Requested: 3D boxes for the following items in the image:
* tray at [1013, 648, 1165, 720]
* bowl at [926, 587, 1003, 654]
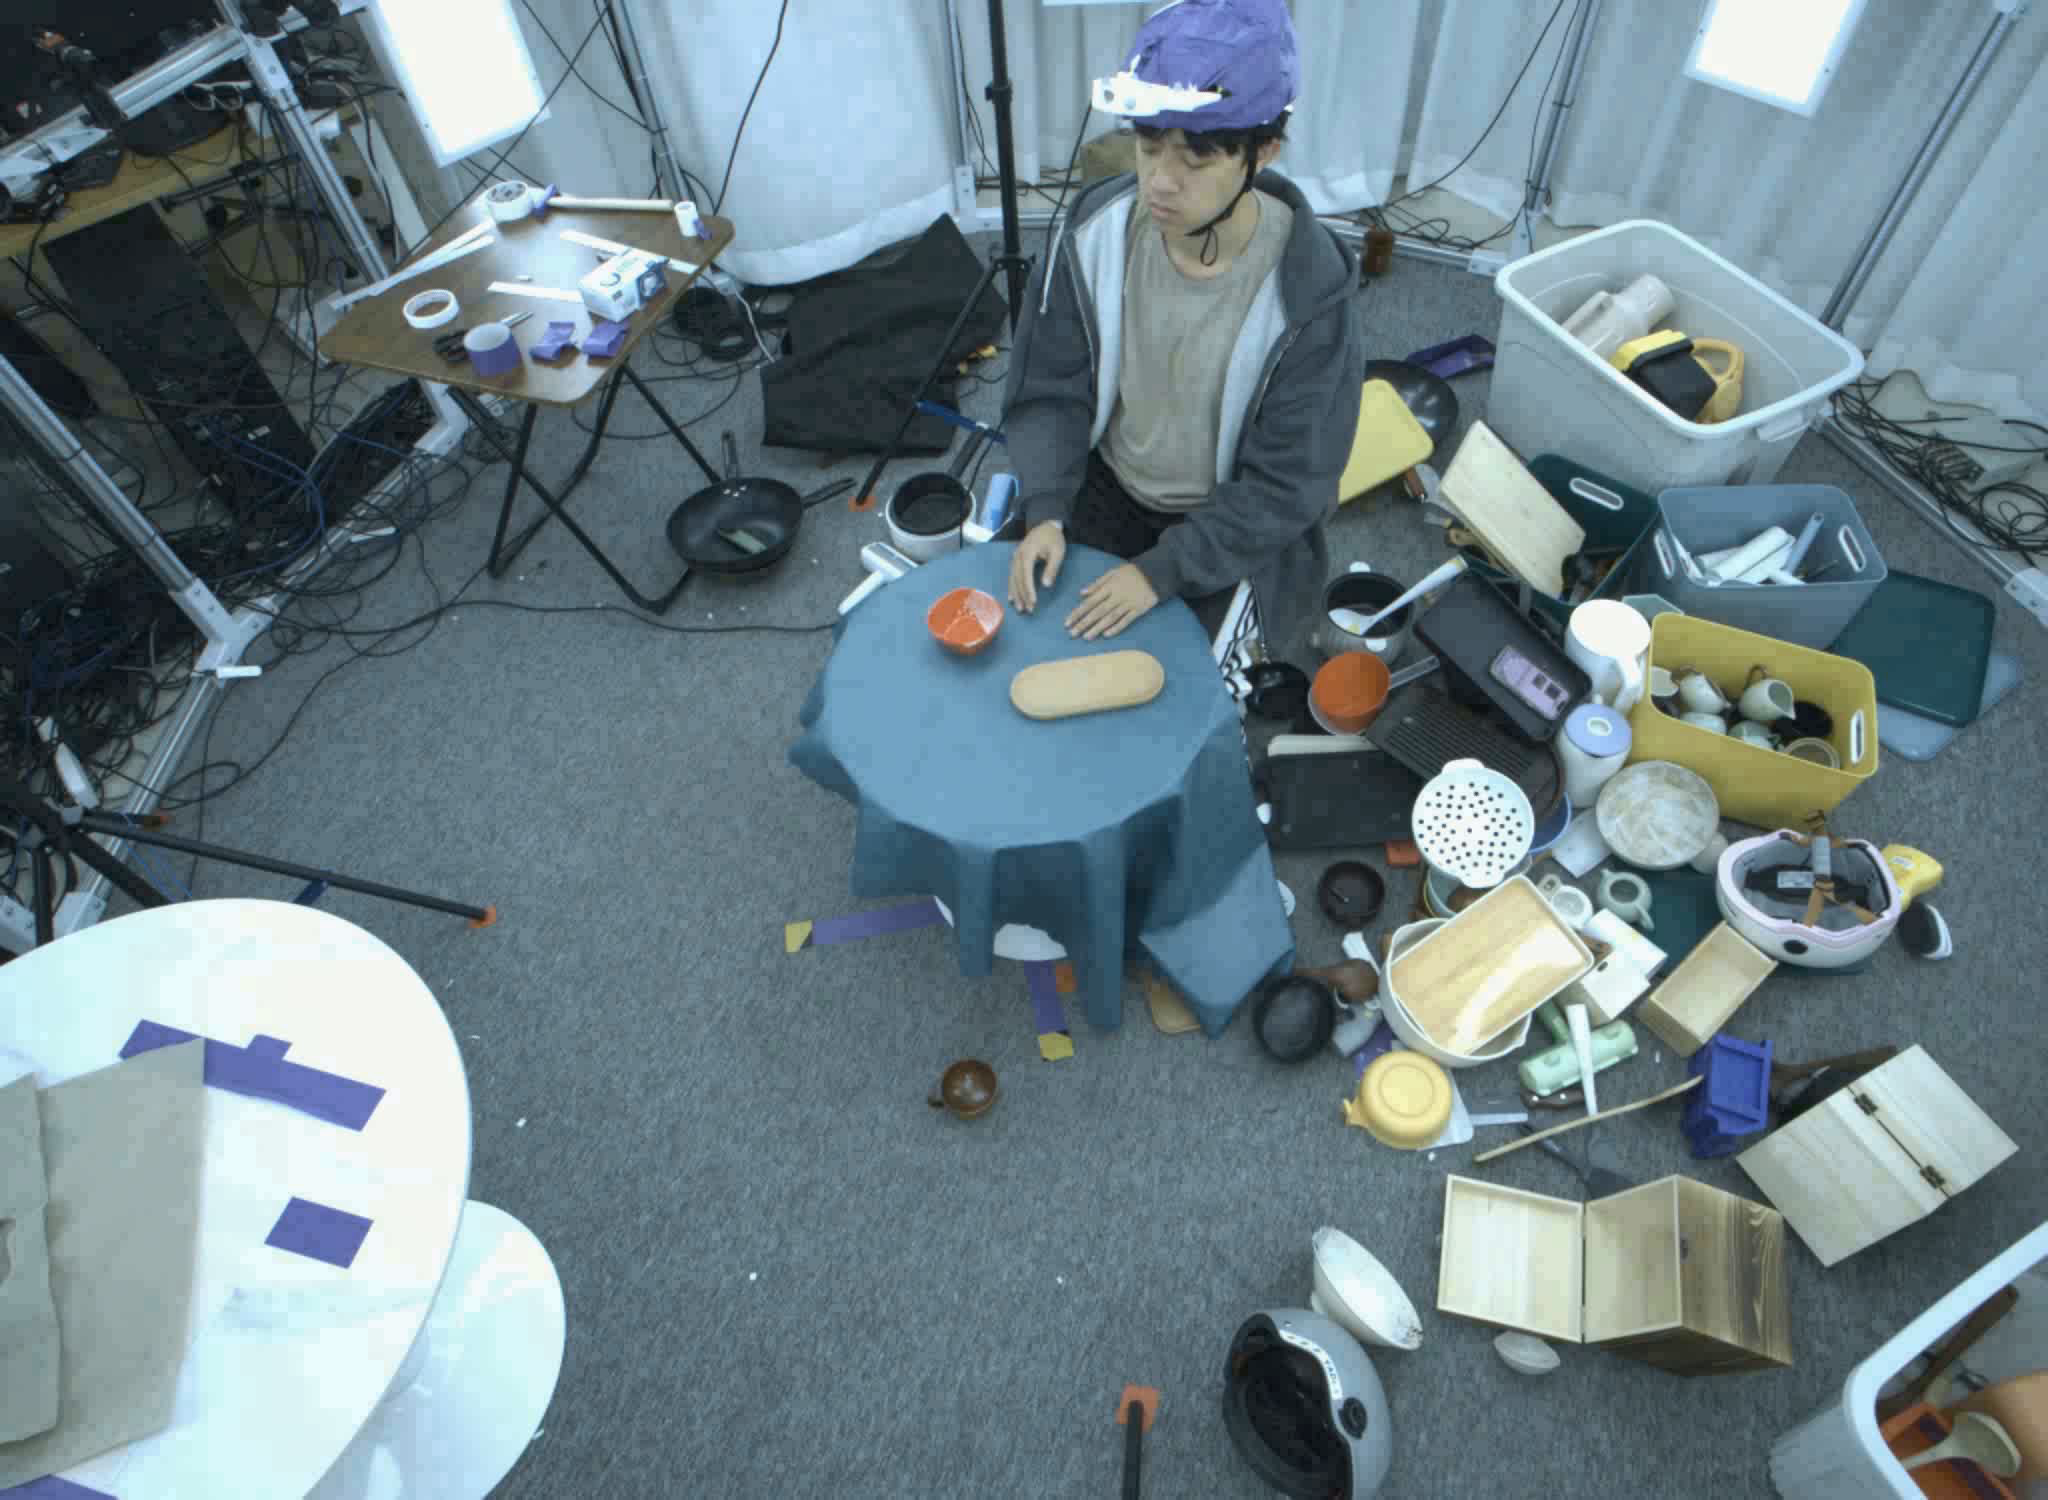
[{"bbox_3d":[0.098,-0.099,1.847,0.232,0.020,0.100,-10,56,-6],"label":"tray"},{"bbox_3d":[-0.089,-0.193,1.896,0.119,0.052,0.118,-1,55,3],"label":"bowl"}]
